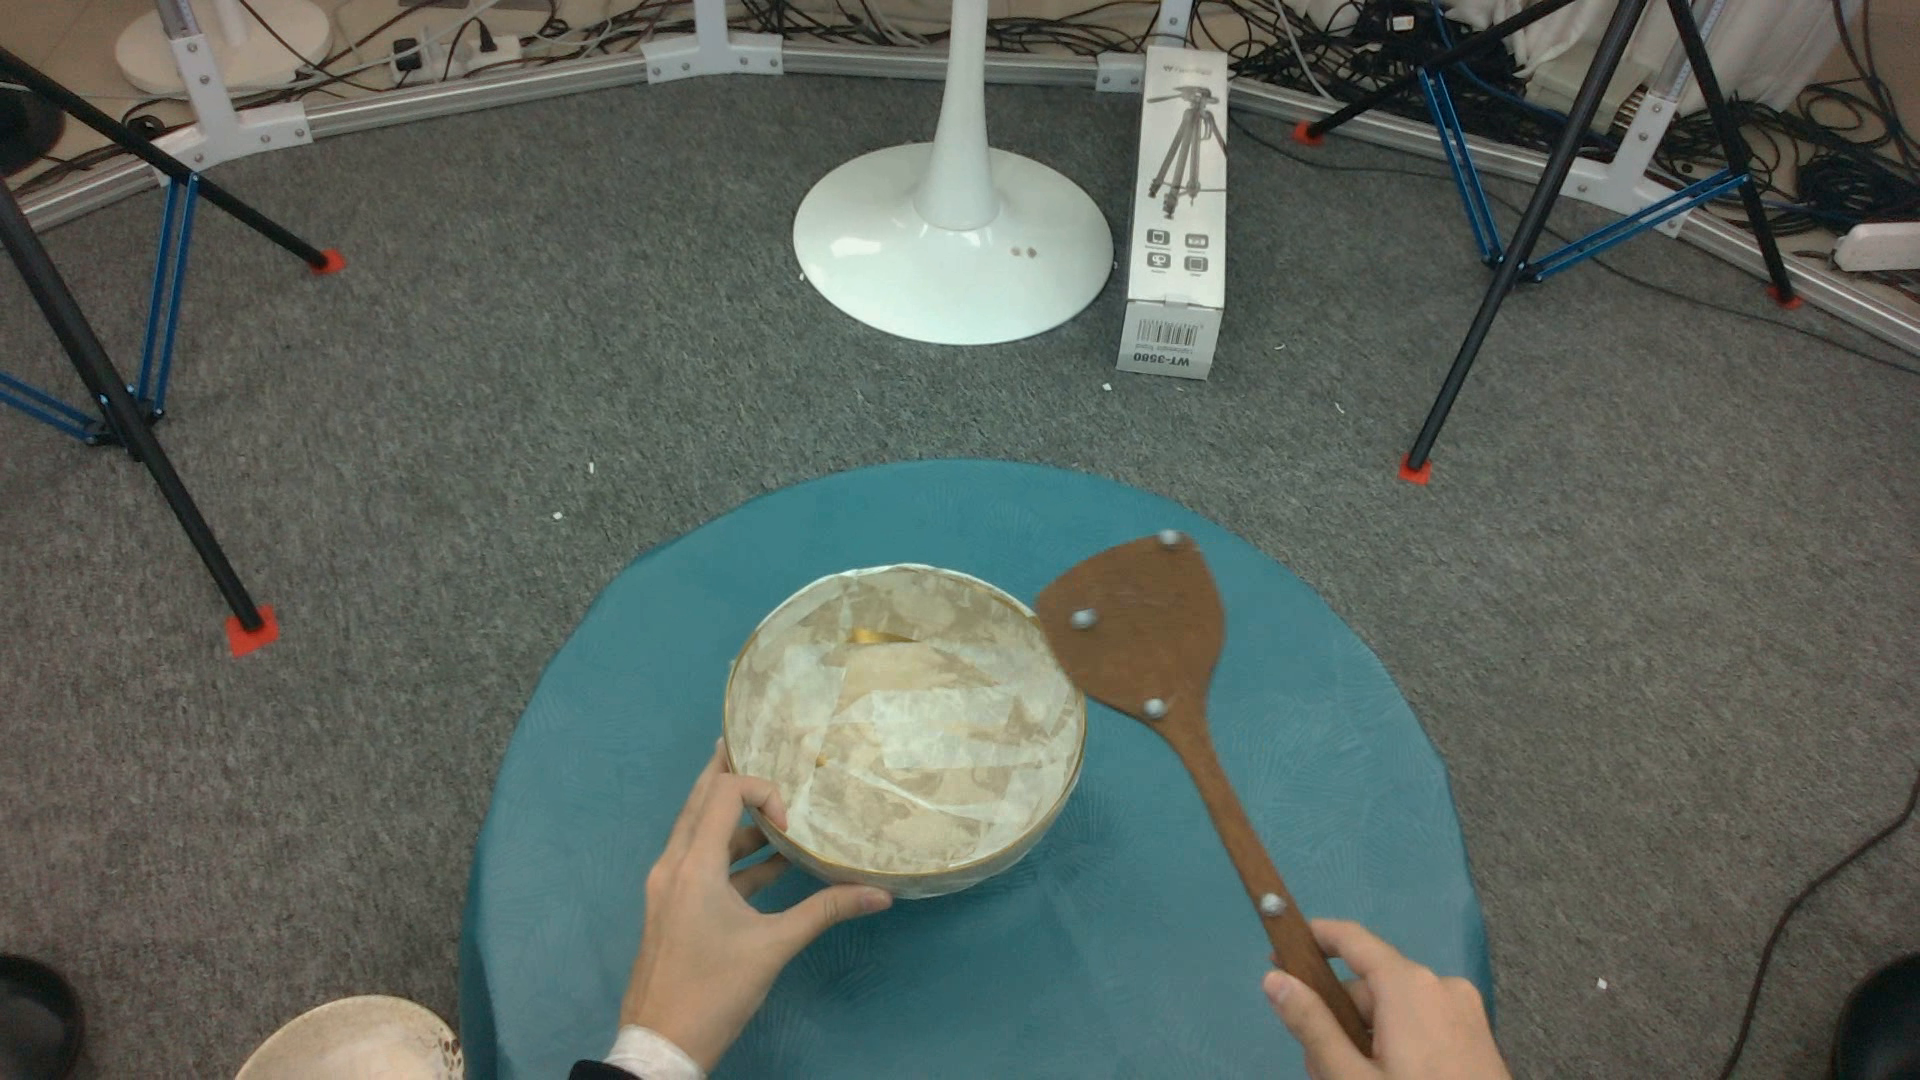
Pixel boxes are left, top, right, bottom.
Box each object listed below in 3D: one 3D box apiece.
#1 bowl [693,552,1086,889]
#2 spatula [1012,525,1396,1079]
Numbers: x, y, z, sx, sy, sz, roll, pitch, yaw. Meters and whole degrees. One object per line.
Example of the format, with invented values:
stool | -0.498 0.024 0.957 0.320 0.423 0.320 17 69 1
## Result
bowl | -0.039 0.115 0.778 0.215 0.094 0.215 4 50 -5
spatula | 0.130 0.144 0.624 0.096 0.016 0.387 -25 52 0
